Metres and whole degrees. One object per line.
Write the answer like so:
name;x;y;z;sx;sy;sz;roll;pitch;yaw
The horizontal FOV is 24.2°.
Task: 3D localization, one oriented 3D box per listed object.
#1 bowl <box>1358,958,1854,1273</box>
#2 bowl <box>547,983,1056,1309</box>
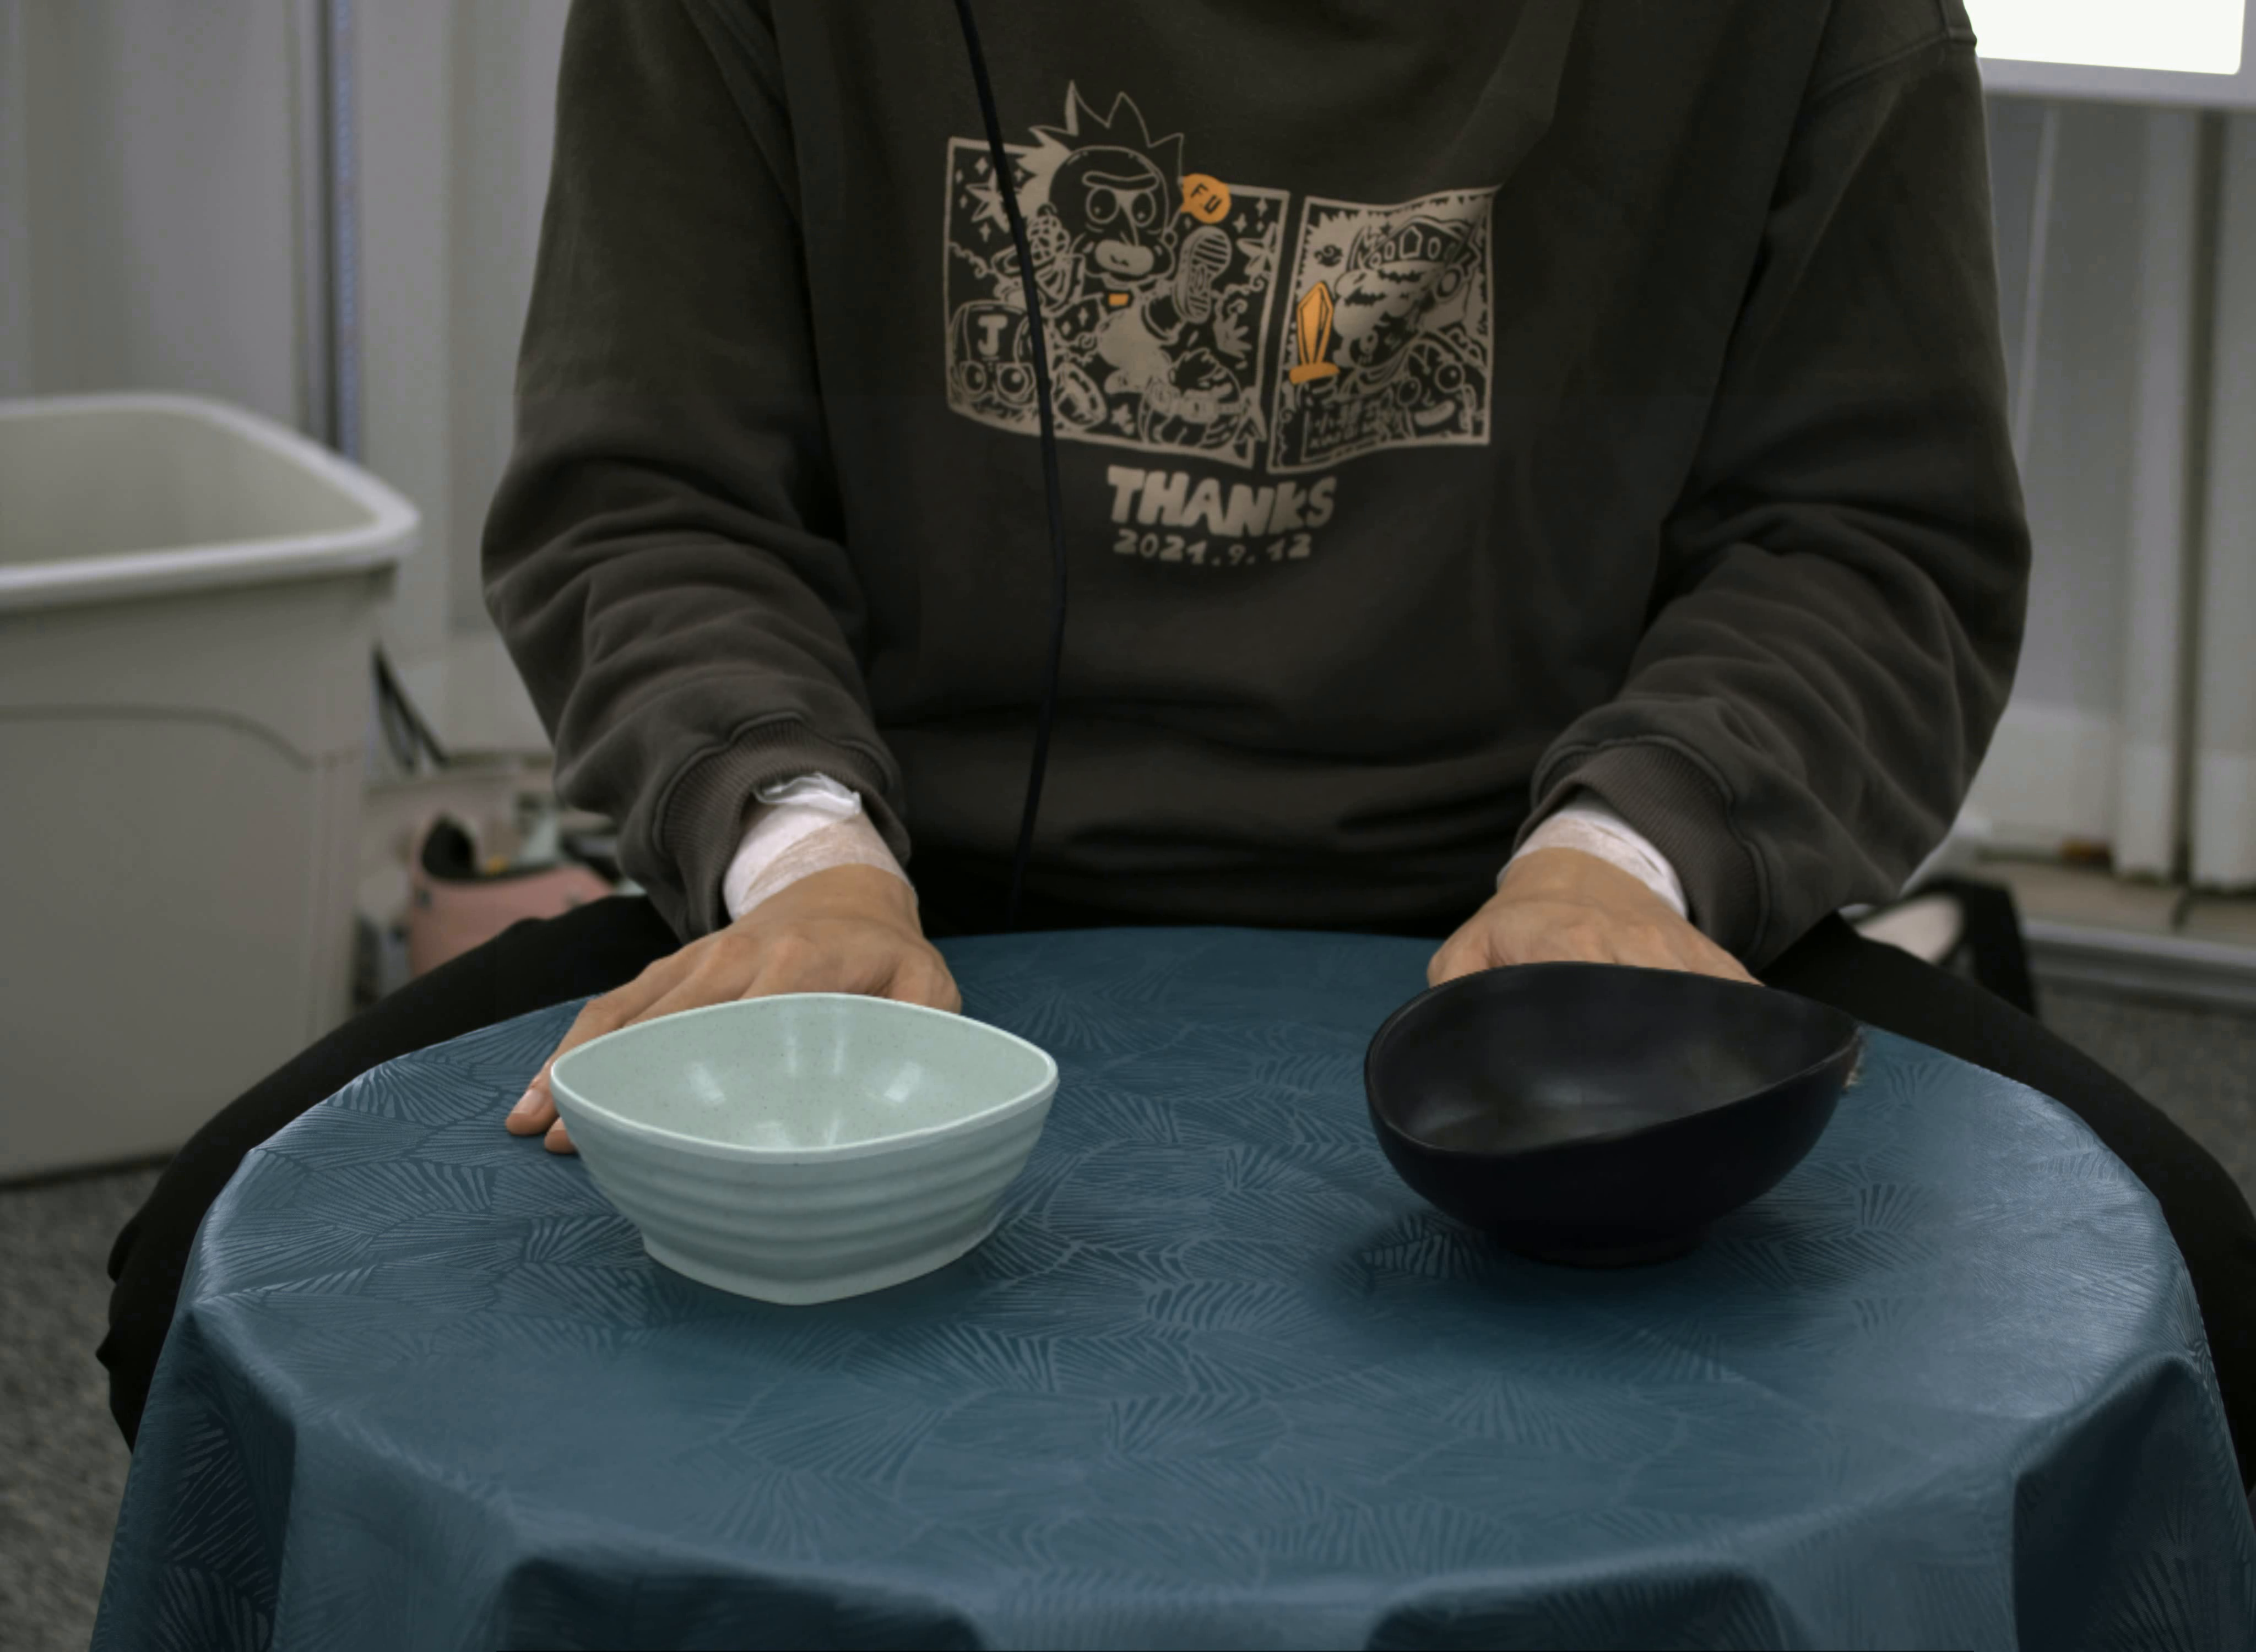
bowl;0.144;0.093;1.589;0.135;0.067;0.171;12;21;37
bowl;-0.097;0.099;1.570;0.151;0.059;0.150;2;17;0
